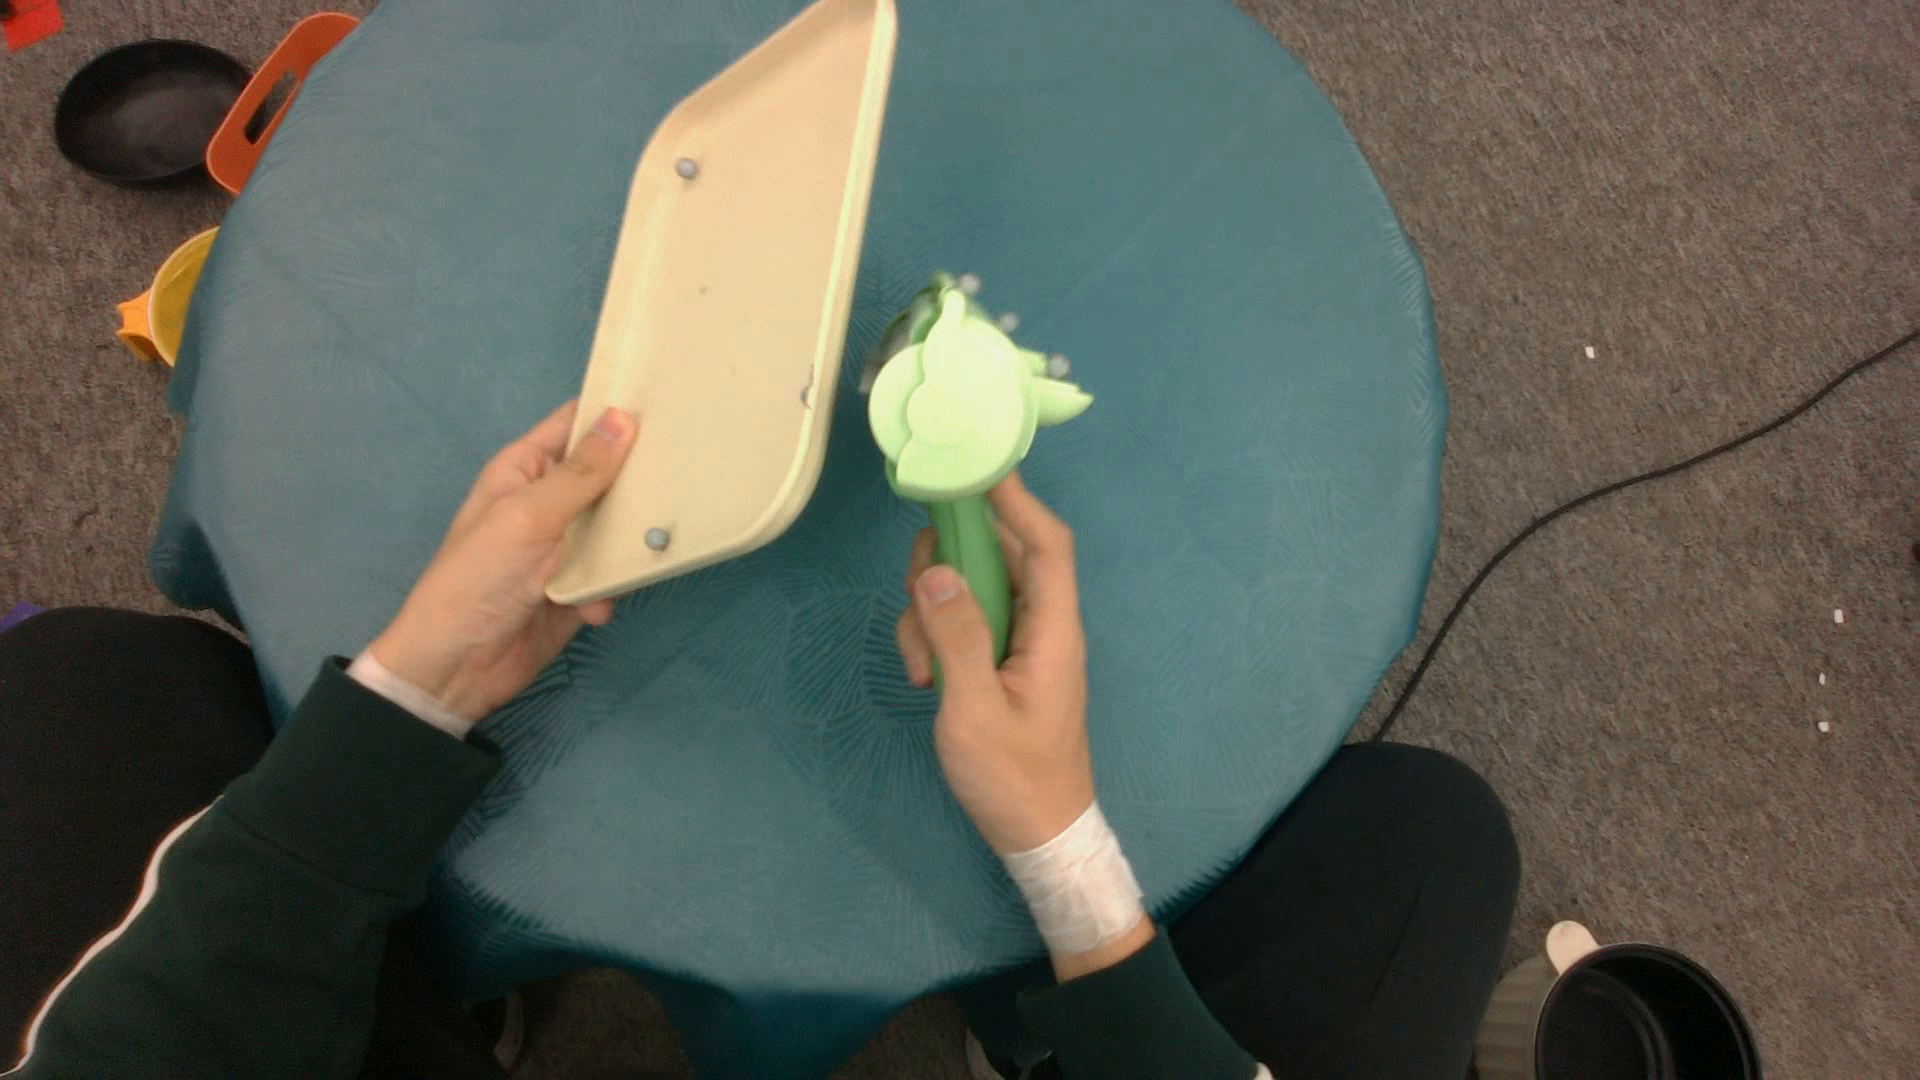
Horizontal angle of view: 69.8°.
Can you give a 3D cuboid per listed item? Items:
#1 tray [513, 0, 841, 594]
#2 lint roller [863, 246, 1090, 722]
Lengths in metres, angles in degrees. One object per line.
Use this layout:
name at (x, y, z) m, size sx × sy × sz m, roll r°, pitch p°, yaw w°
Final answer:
tray at (-0.109, -0.101, 0.536) m, size 0.017 × 0.170 × 0.240 m, roll 24°, pitch 60°, yaw -41°
lint roller at (0.015, -0.021, 0.534) m, size 0.082 × 0.199 × 0.183 m, roll -15°, pitch 103°, yaw 3°
